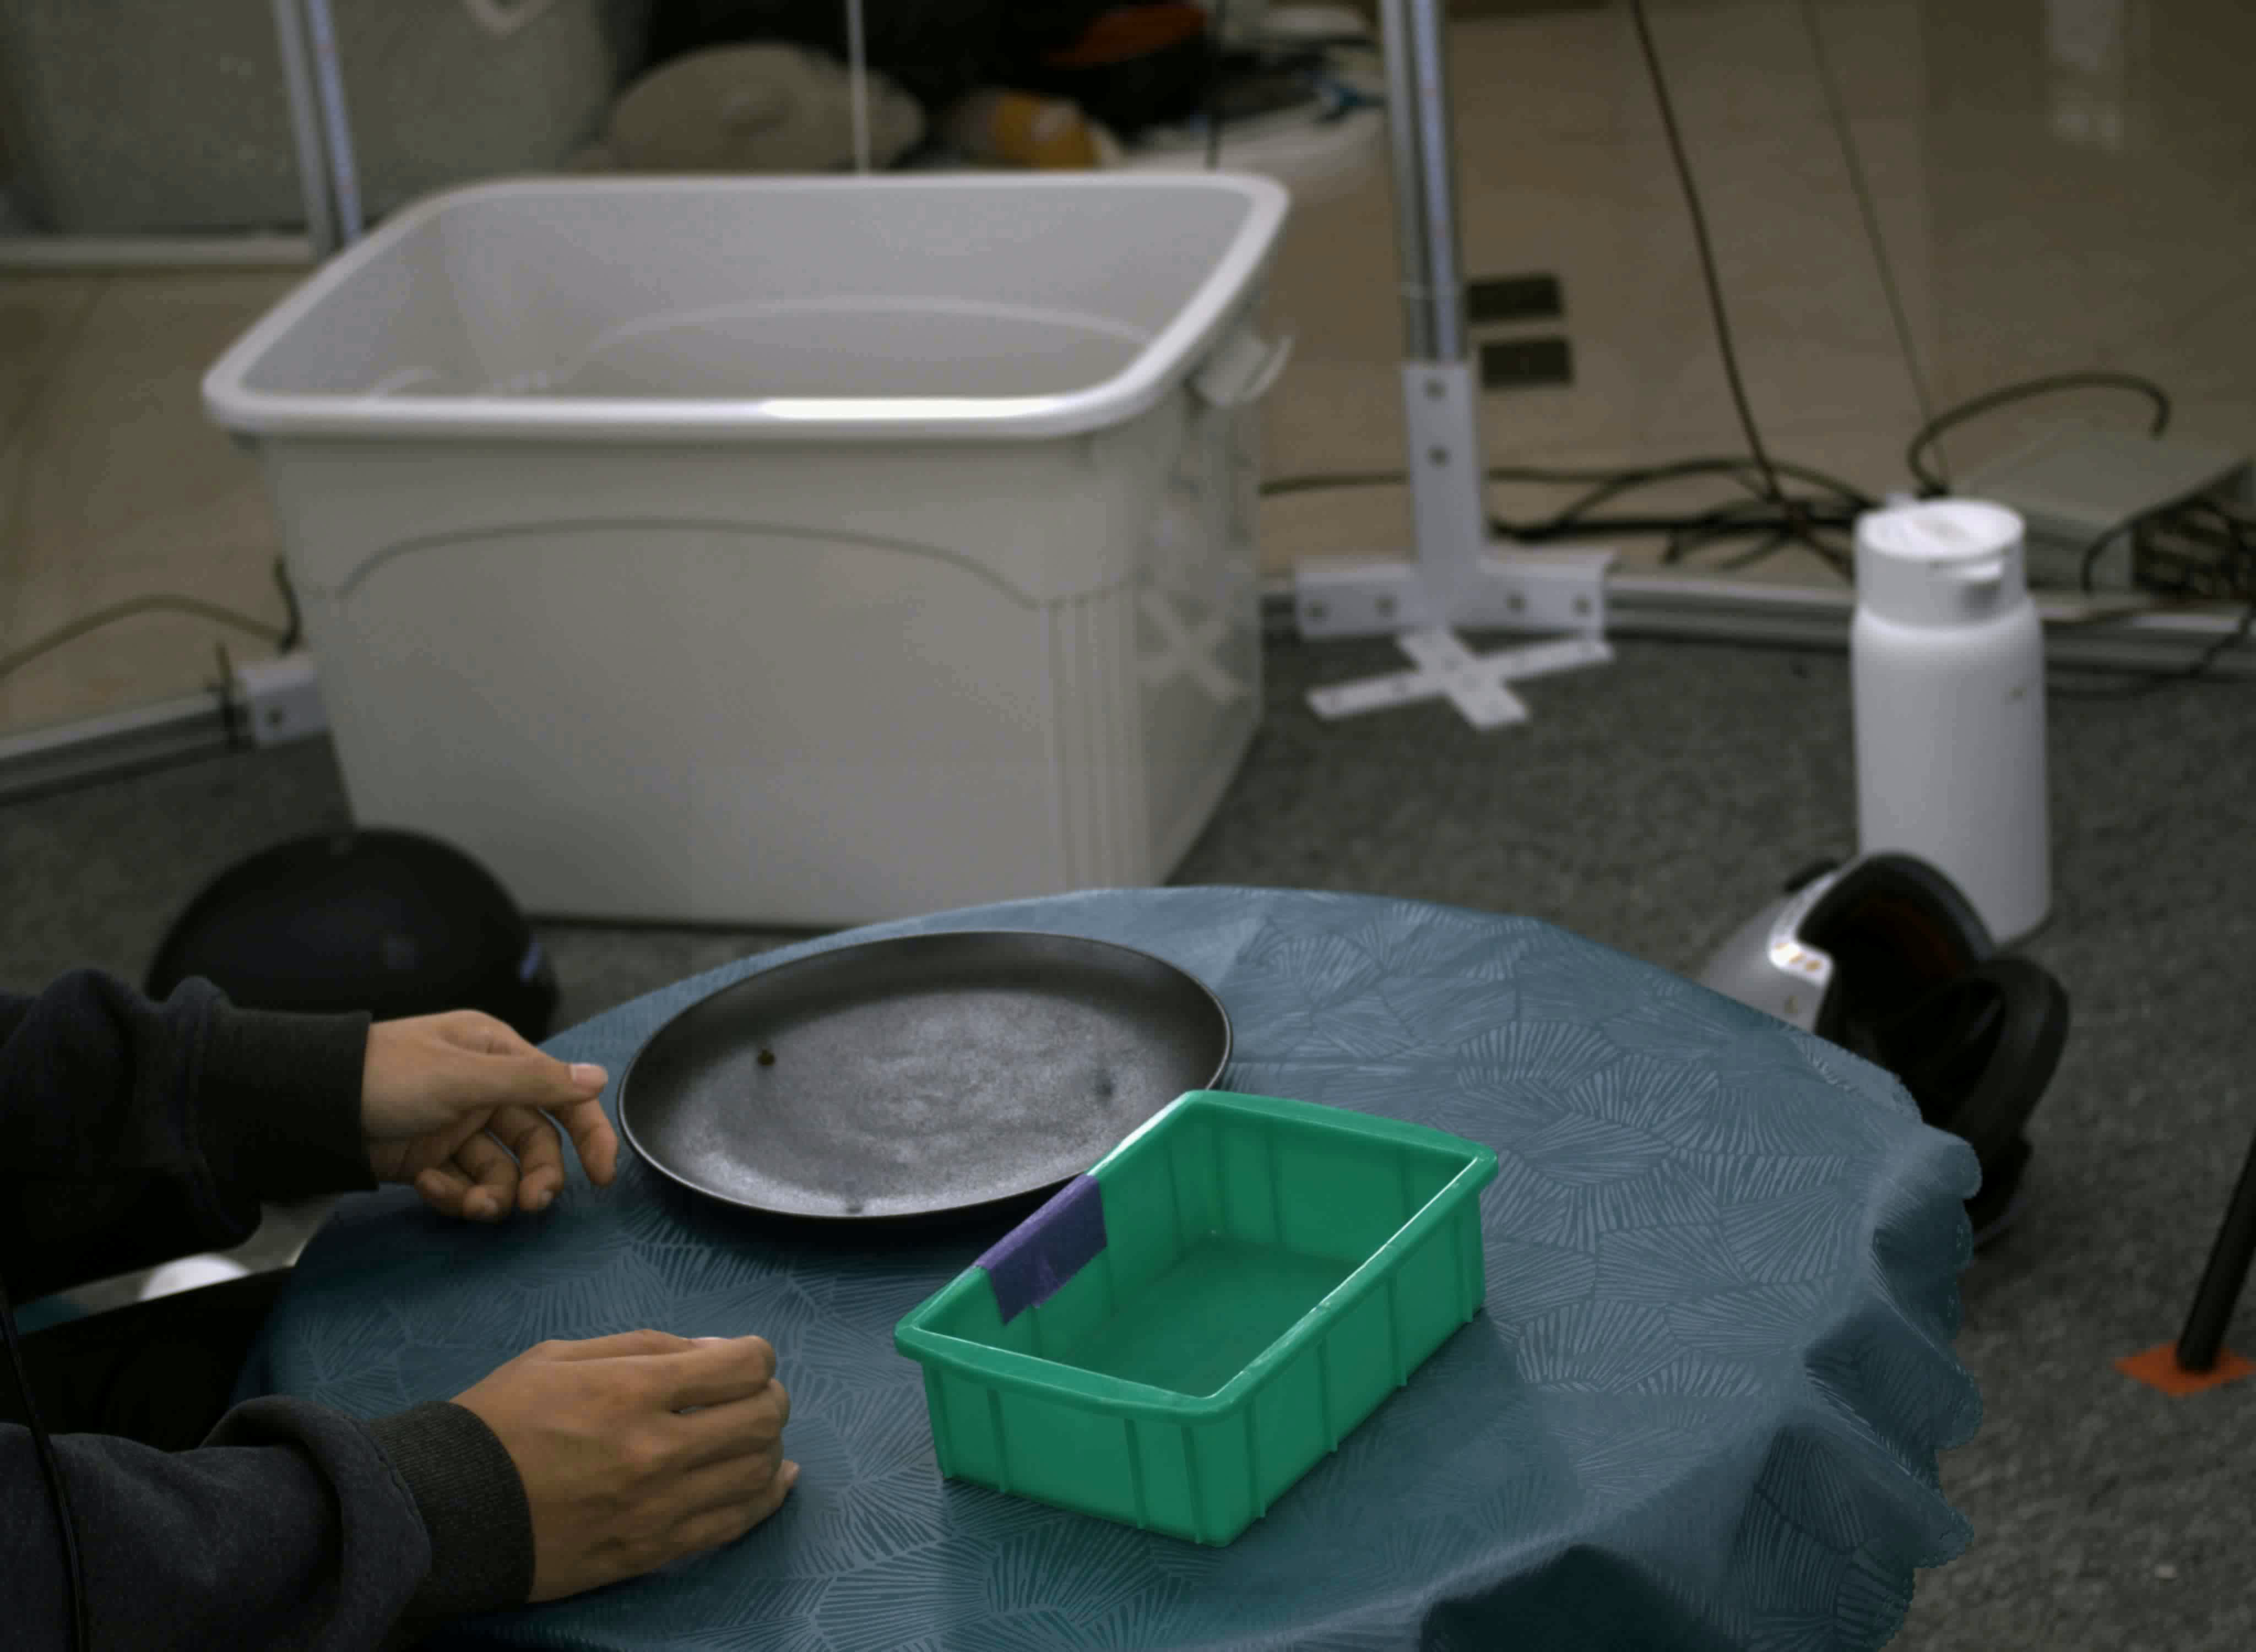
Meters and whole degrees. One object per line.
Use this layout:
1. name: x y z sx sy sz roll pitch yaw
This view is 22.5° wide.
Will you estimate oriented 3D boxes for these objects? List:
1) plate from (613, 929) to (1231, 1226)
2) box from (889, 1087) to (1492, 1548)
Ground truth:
1. plate: -0.080 0.103 2.217 0.244 0.024 0.241 -5 25 3
2. box: 0.027 0.172 1.993 0.138 0.066 0.208 8 31 32
